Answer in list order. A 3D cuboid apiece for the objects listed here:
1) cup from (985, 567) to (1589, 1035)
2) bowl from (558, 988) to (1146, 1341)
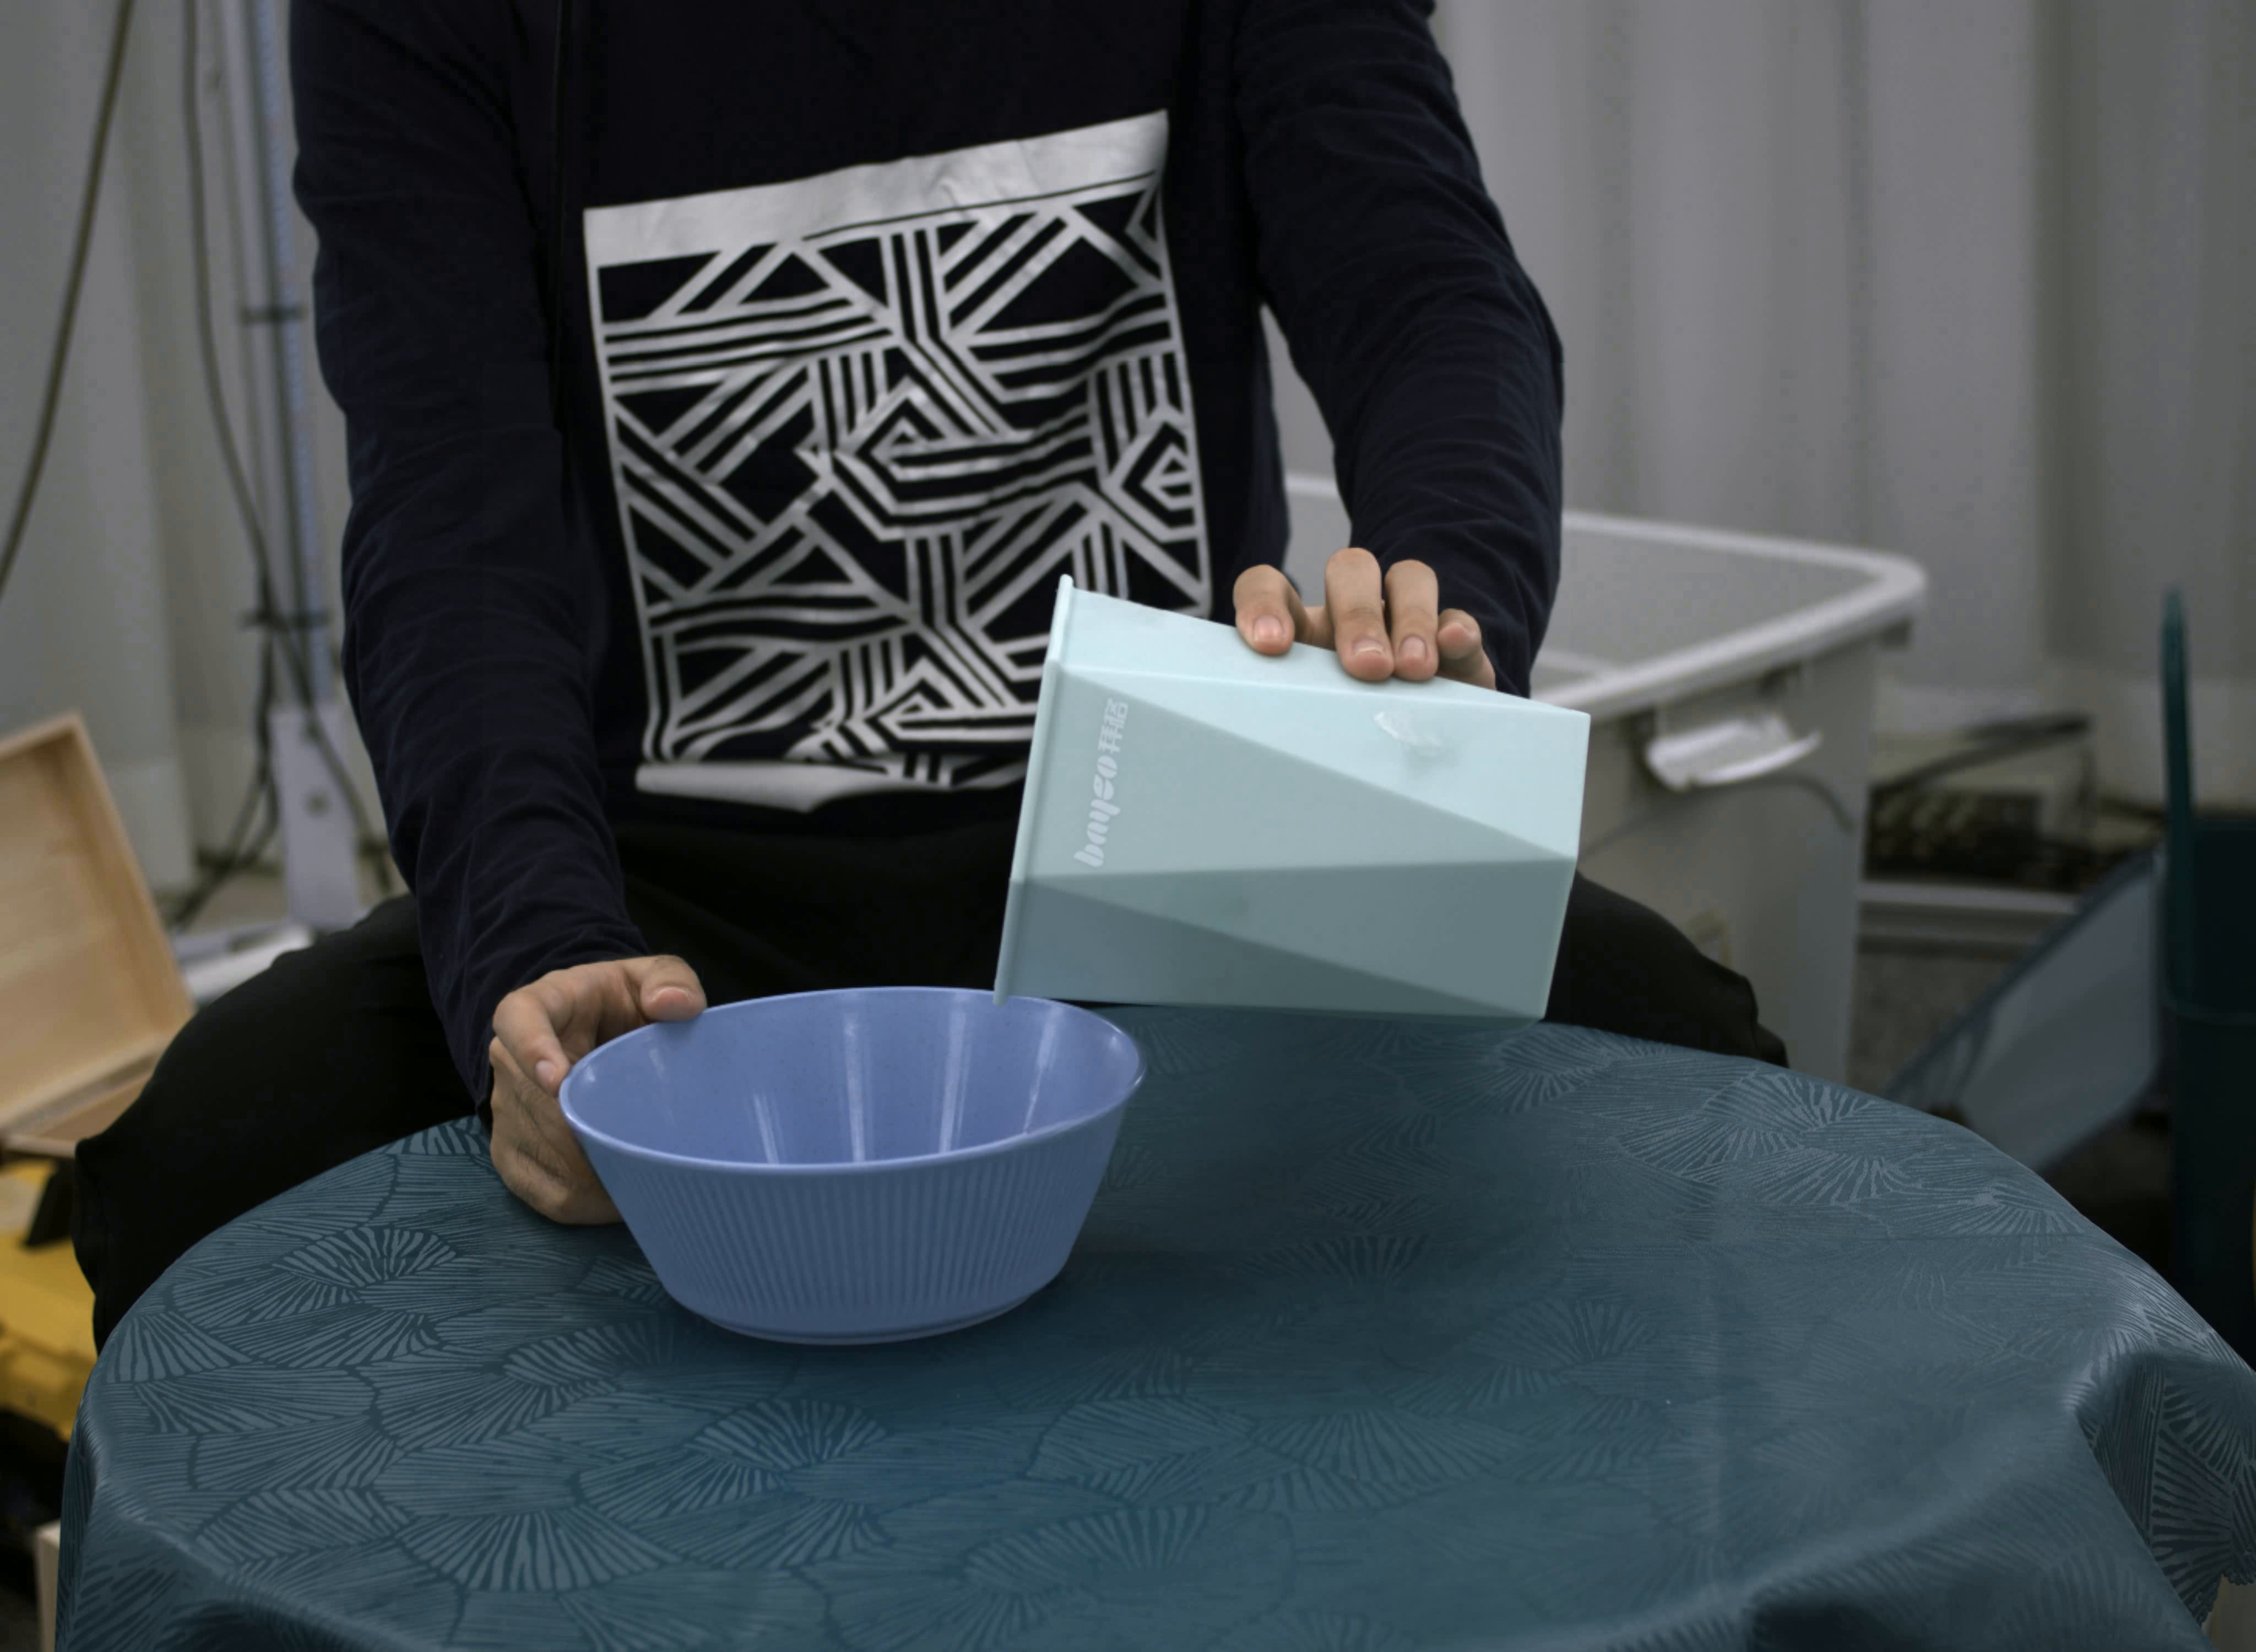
[{"bbox_3d":[0.048,0.000,1.628,0.162,0.132,0.114,10,-9,1],"label":"cup"},{"bbox_3d":[-0.081,0.104,1.636,0.175,0.070,0.177,-3,15,0],"label":"bowl"}]
